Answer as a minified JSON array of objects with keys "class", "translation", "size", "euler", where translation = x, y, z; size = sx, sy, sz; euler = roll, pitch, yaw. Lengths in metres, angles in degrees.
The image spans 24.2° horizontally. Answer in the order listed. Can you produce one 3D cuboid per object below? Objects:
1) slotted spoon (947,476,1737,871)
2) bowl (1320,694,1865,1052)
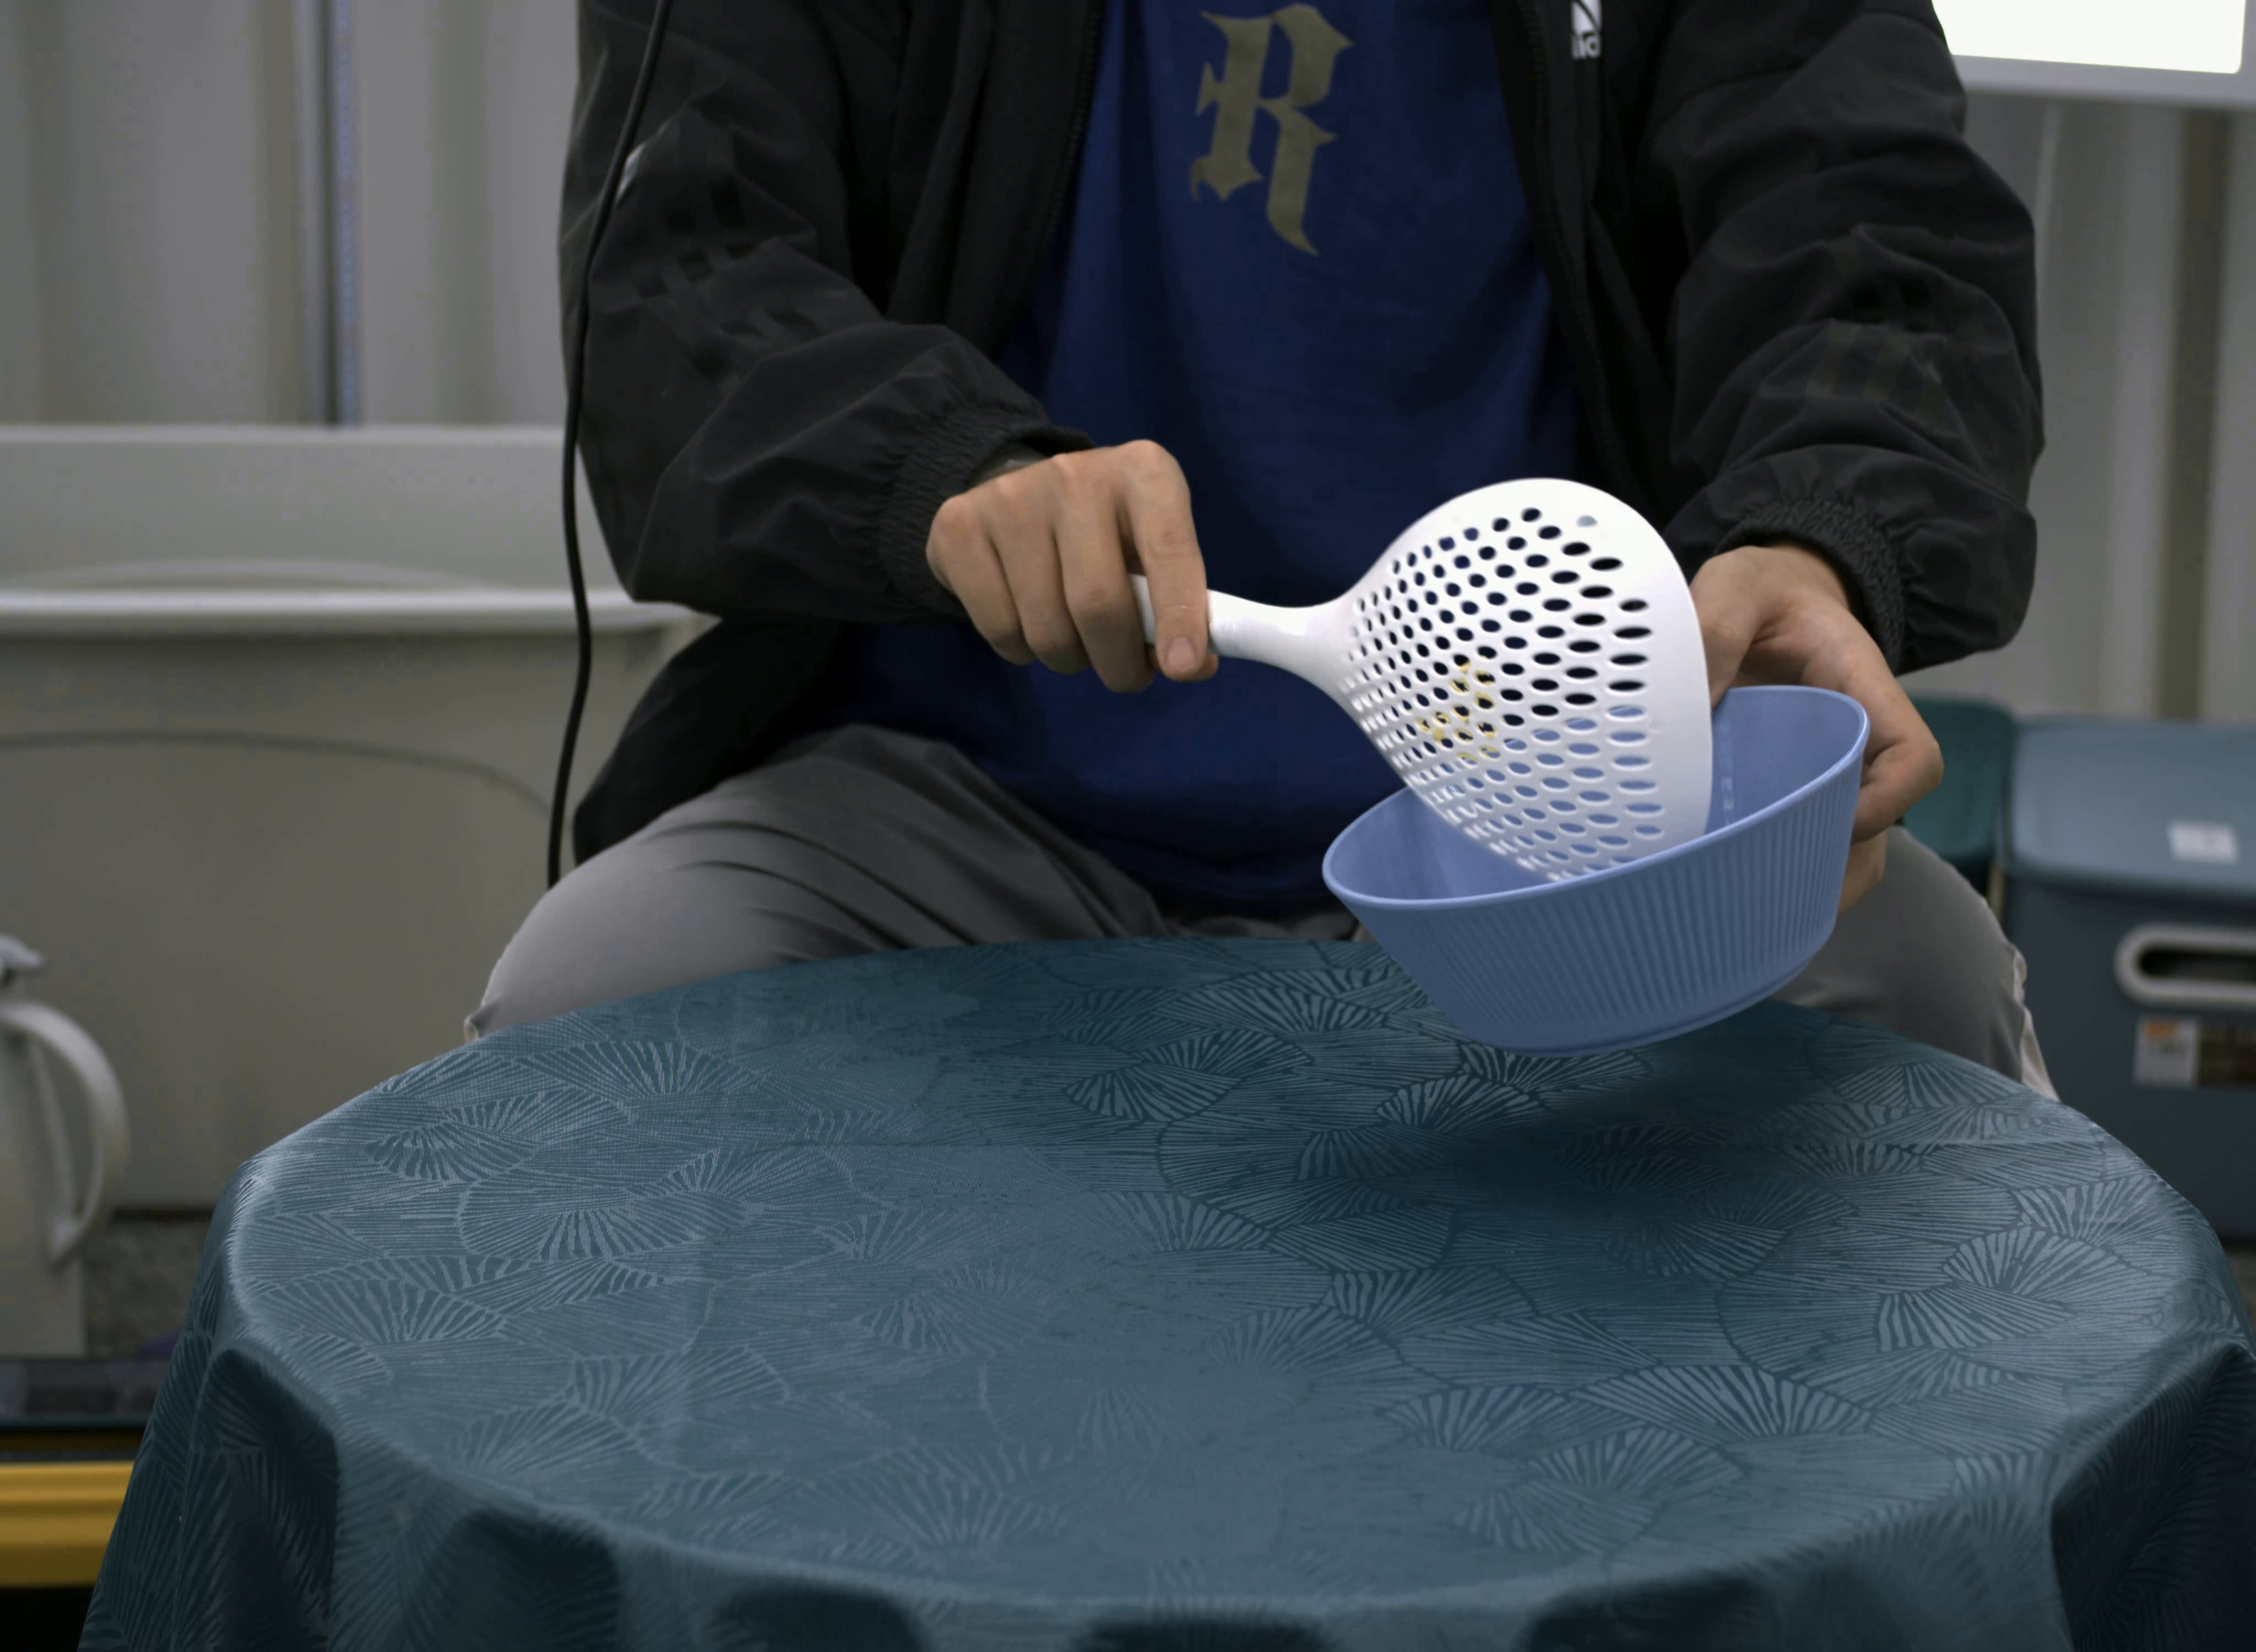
[{"class":"slotted spoon","translation":[0.061,-0.057,1.705],"size":[0.050,0.138,0.343],"euler":[-18,22,-34]},{"class":"bowl","translation":[0.152,0.019,1.641],"size":[0.175,0.071,0.175],"euler":[-17,13,5]}]
